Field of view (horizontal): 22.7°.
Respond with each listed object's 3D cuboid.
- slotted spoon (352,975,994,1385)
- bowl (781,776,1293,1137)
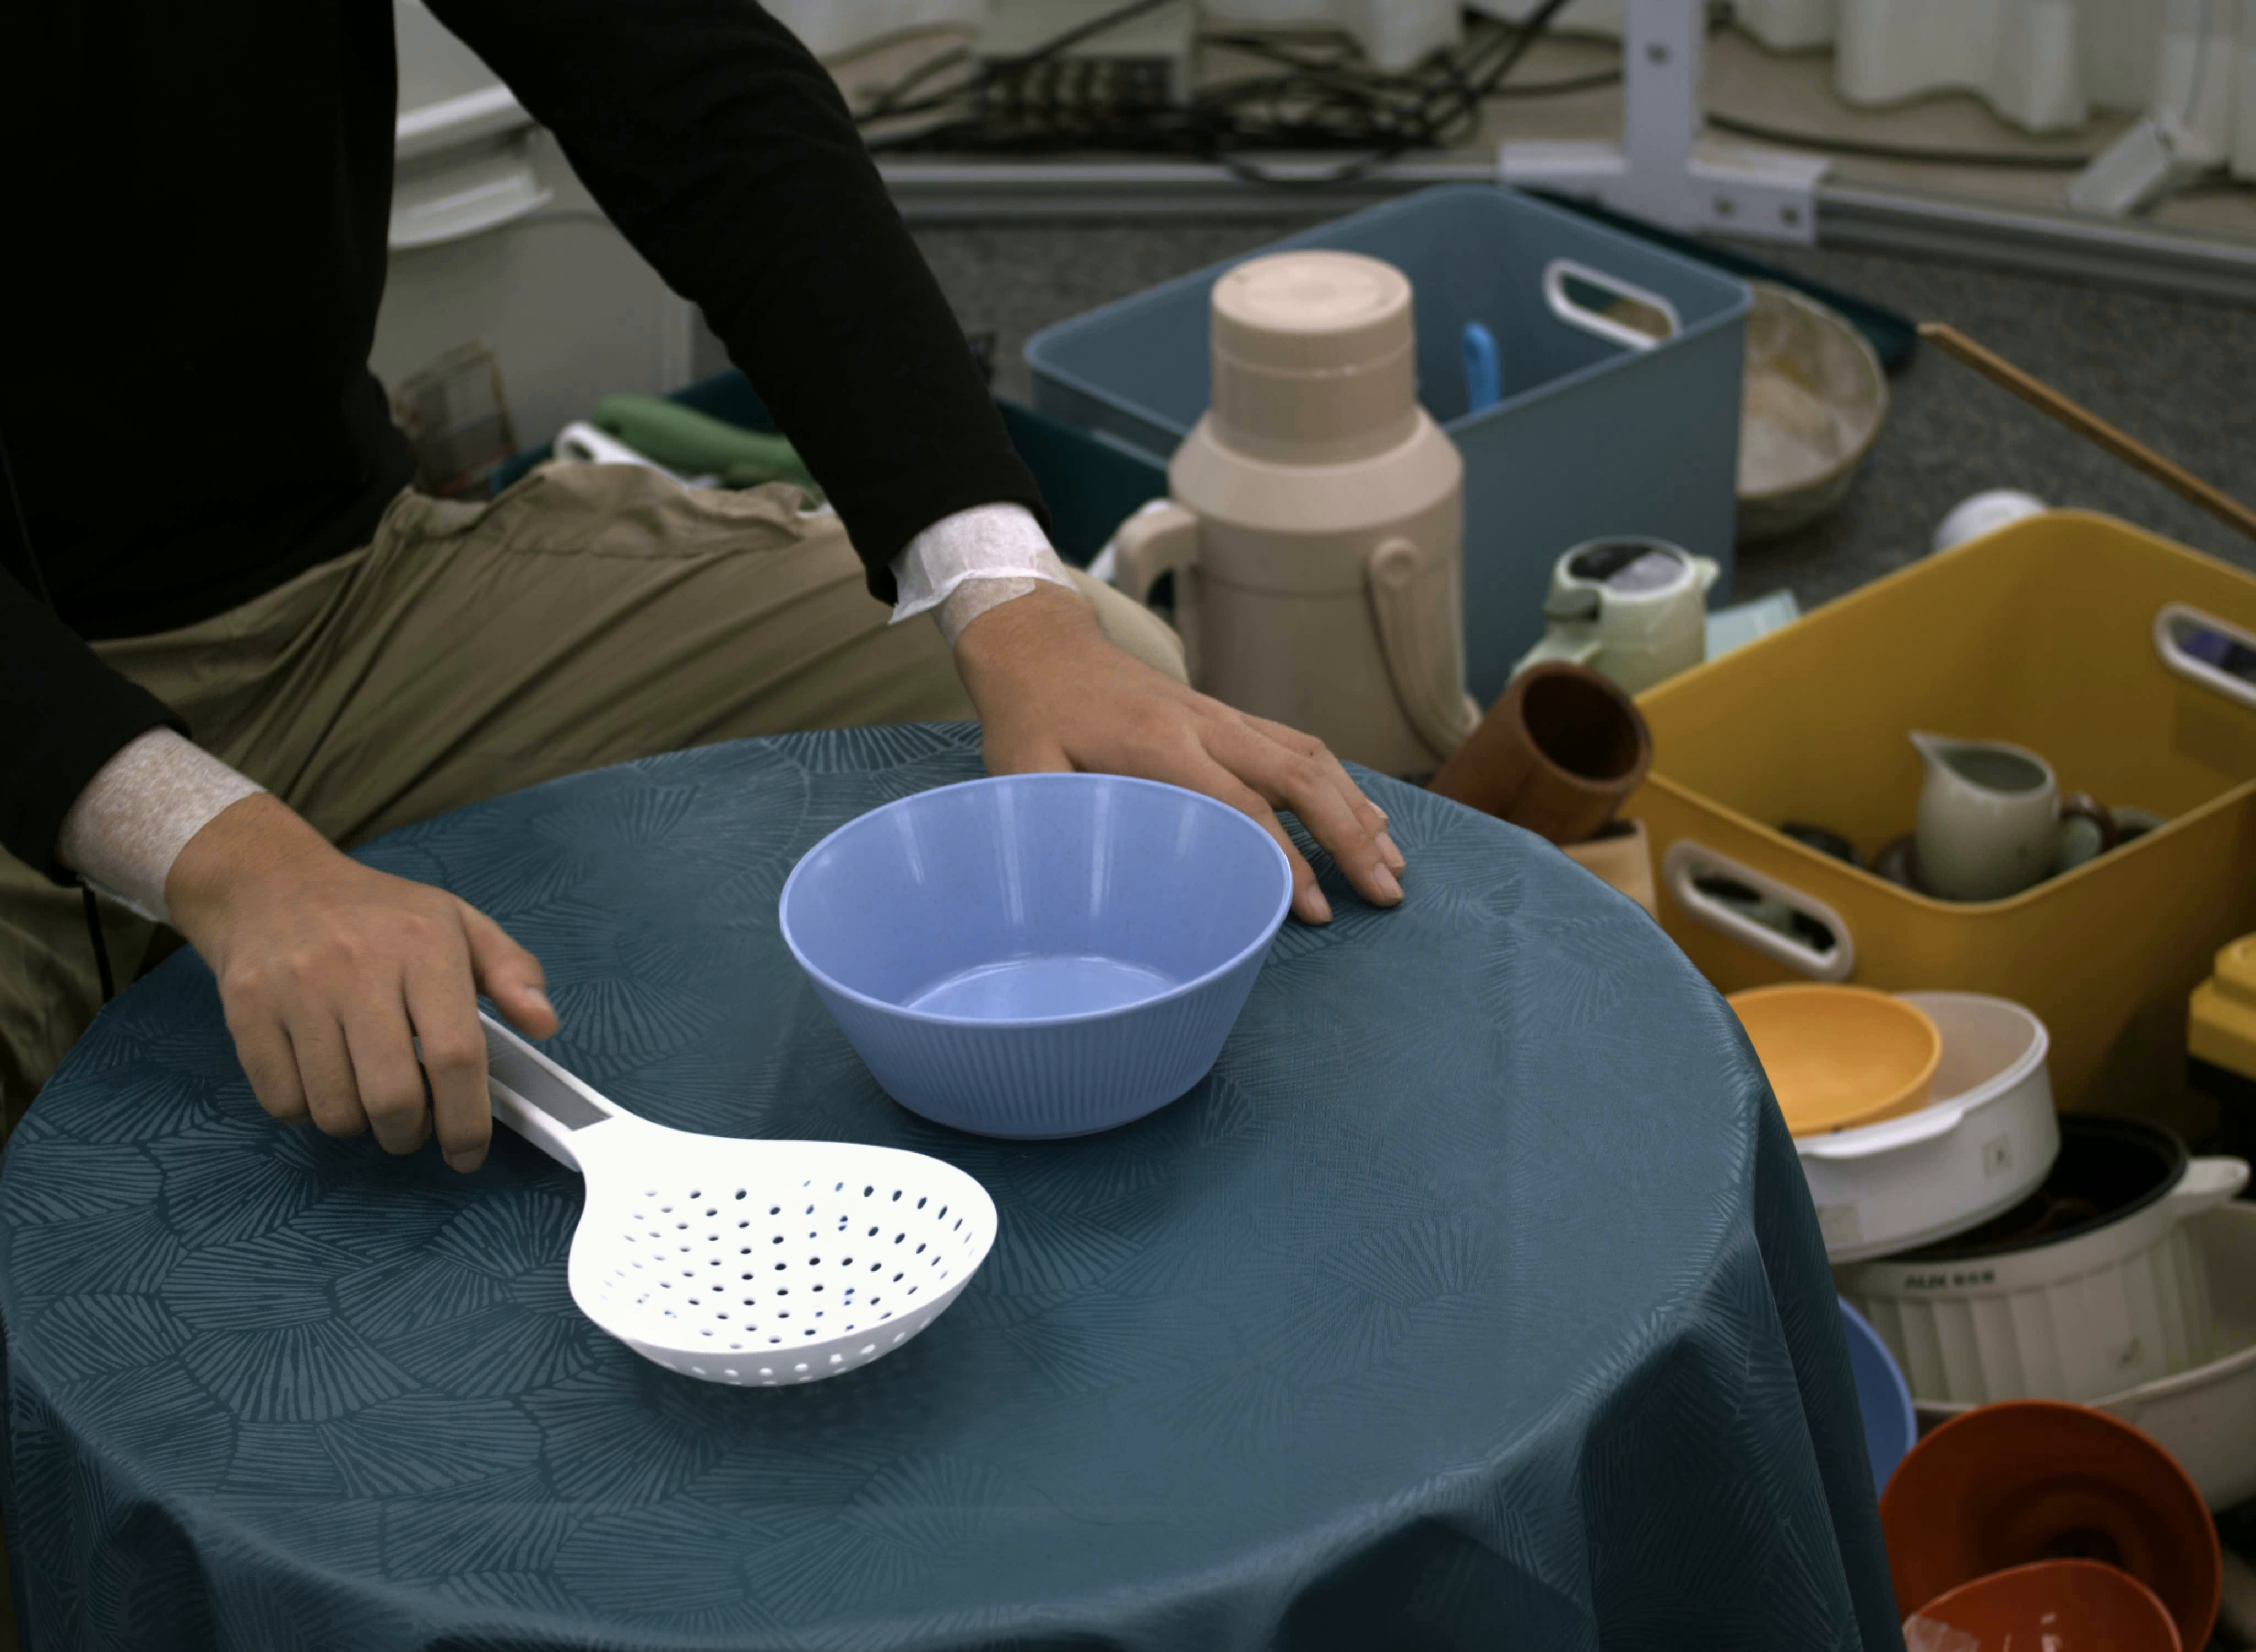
[{"bbox_3d":[-0.168,0.109,1.853,0.137,0.045,0.350,-21,31,-29],"label":"slotted spoon"},{"bbox_3d":[-0.030,0.050,1.927,0.175,0.069,0.178,-2,26,1],"label":"bowl"}]
